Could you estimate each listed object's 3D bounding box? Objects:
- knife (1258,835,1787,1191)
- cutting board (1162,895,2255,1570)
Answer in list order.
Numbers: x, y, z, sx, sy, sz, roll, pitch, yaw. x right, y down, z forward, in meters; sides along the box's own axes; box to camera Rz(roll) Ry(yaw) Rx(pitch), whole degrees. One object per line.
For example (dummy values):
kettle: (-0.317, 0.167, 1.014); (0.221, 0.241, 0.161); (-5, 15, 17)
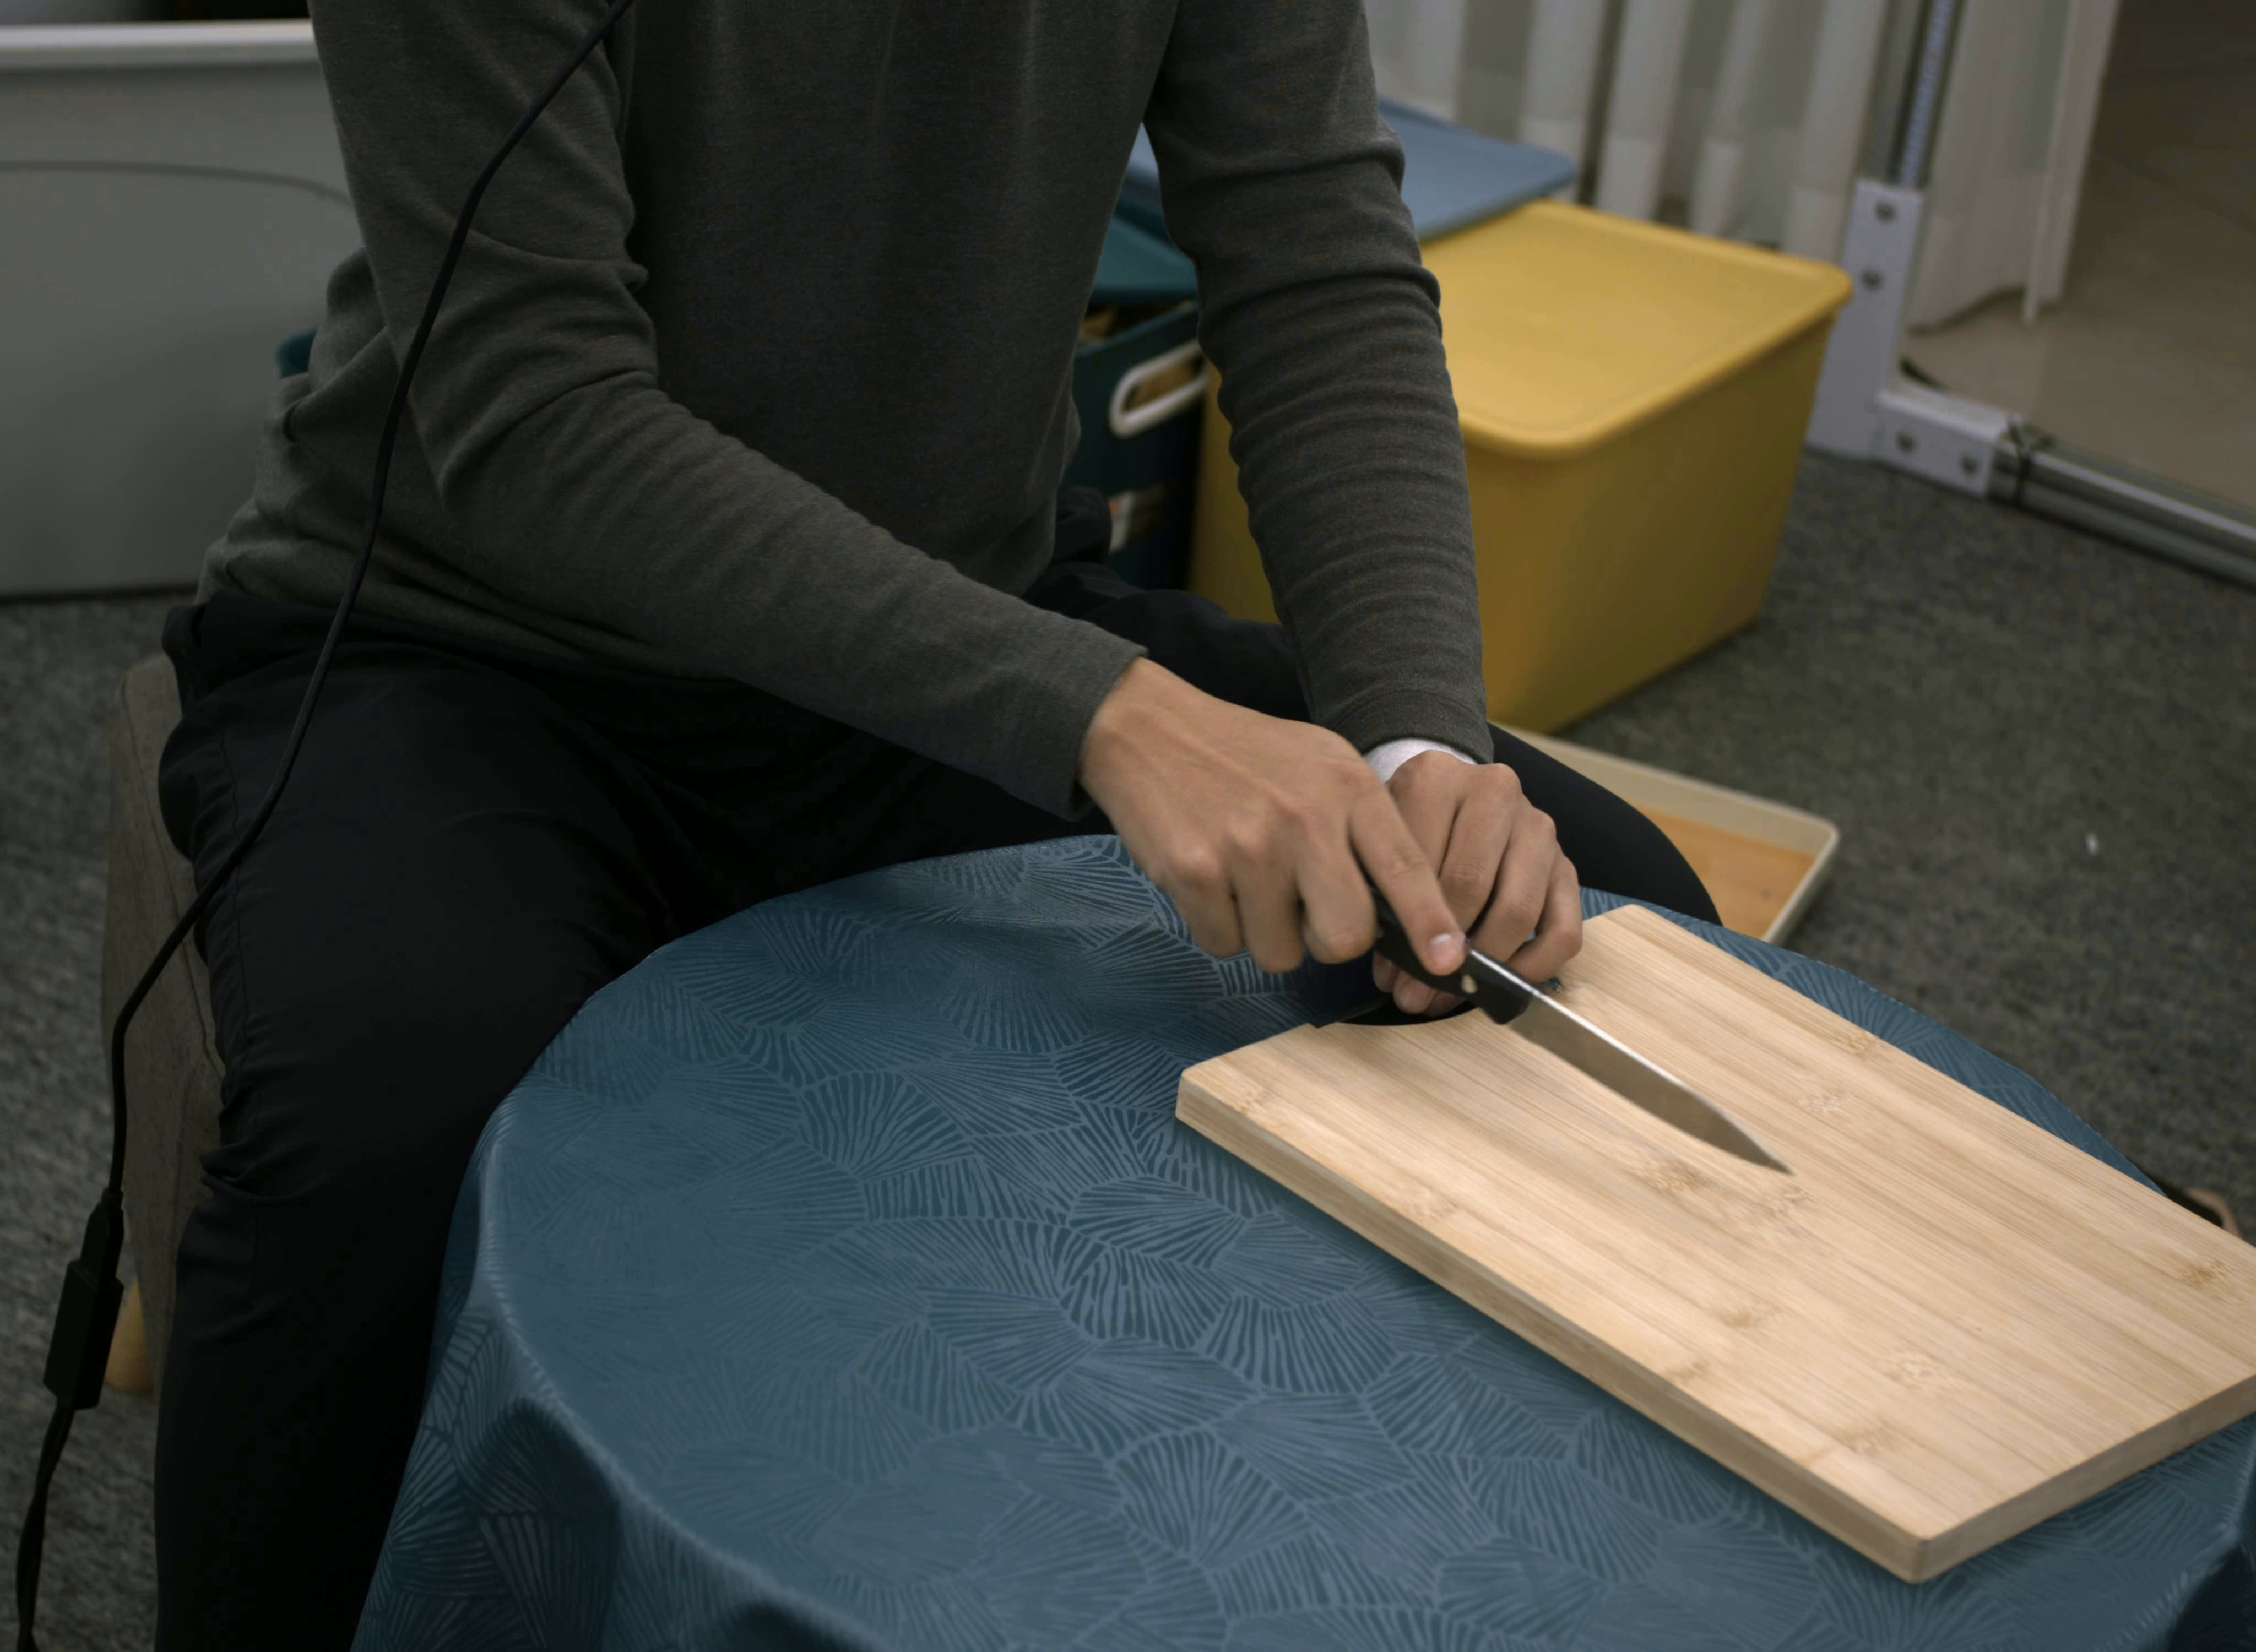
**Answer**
knife: (0.135, 0.063, 1.837); (0.240, 0.024, 0.016); (33, 45, 32)
cutting board: (0.214, 0.130, 1.823); (0.249, 0.023, 0.351); (-18, 35, -40)
